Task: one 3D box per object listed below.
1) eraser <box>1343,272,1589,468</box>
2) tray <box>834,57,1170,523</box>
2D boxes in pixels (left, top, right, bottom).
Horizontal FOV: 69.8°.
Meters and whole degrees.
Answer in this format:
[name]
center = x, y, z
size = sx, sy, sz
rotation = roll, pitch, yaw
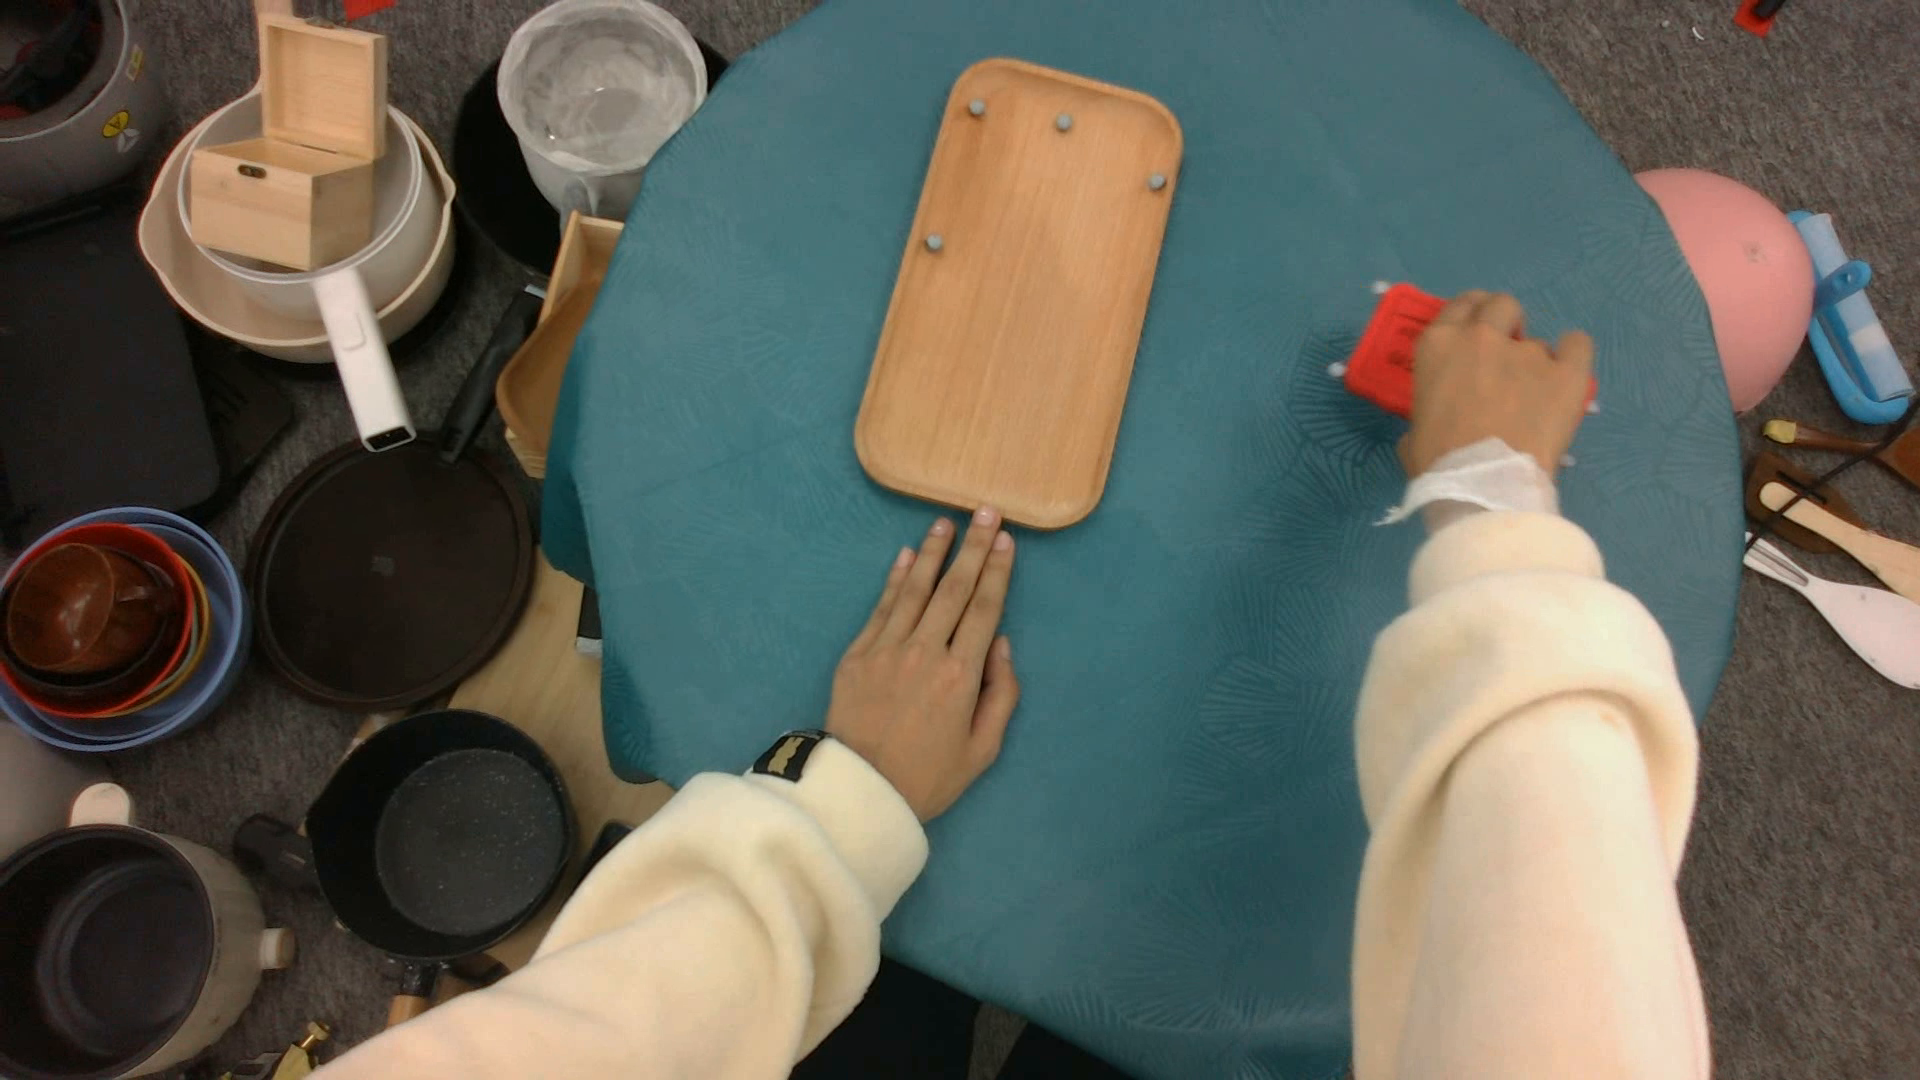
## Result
[eraser]
center = 0.250, -0.084, 0.684
size = 0.108, 0.023, 0.059
rotation = 30, 90, 5
[tray]
center = 0.025, -0.133, 0.708
size = 0.130, 0.023, 0.251
rotation = 15, 73, 3
